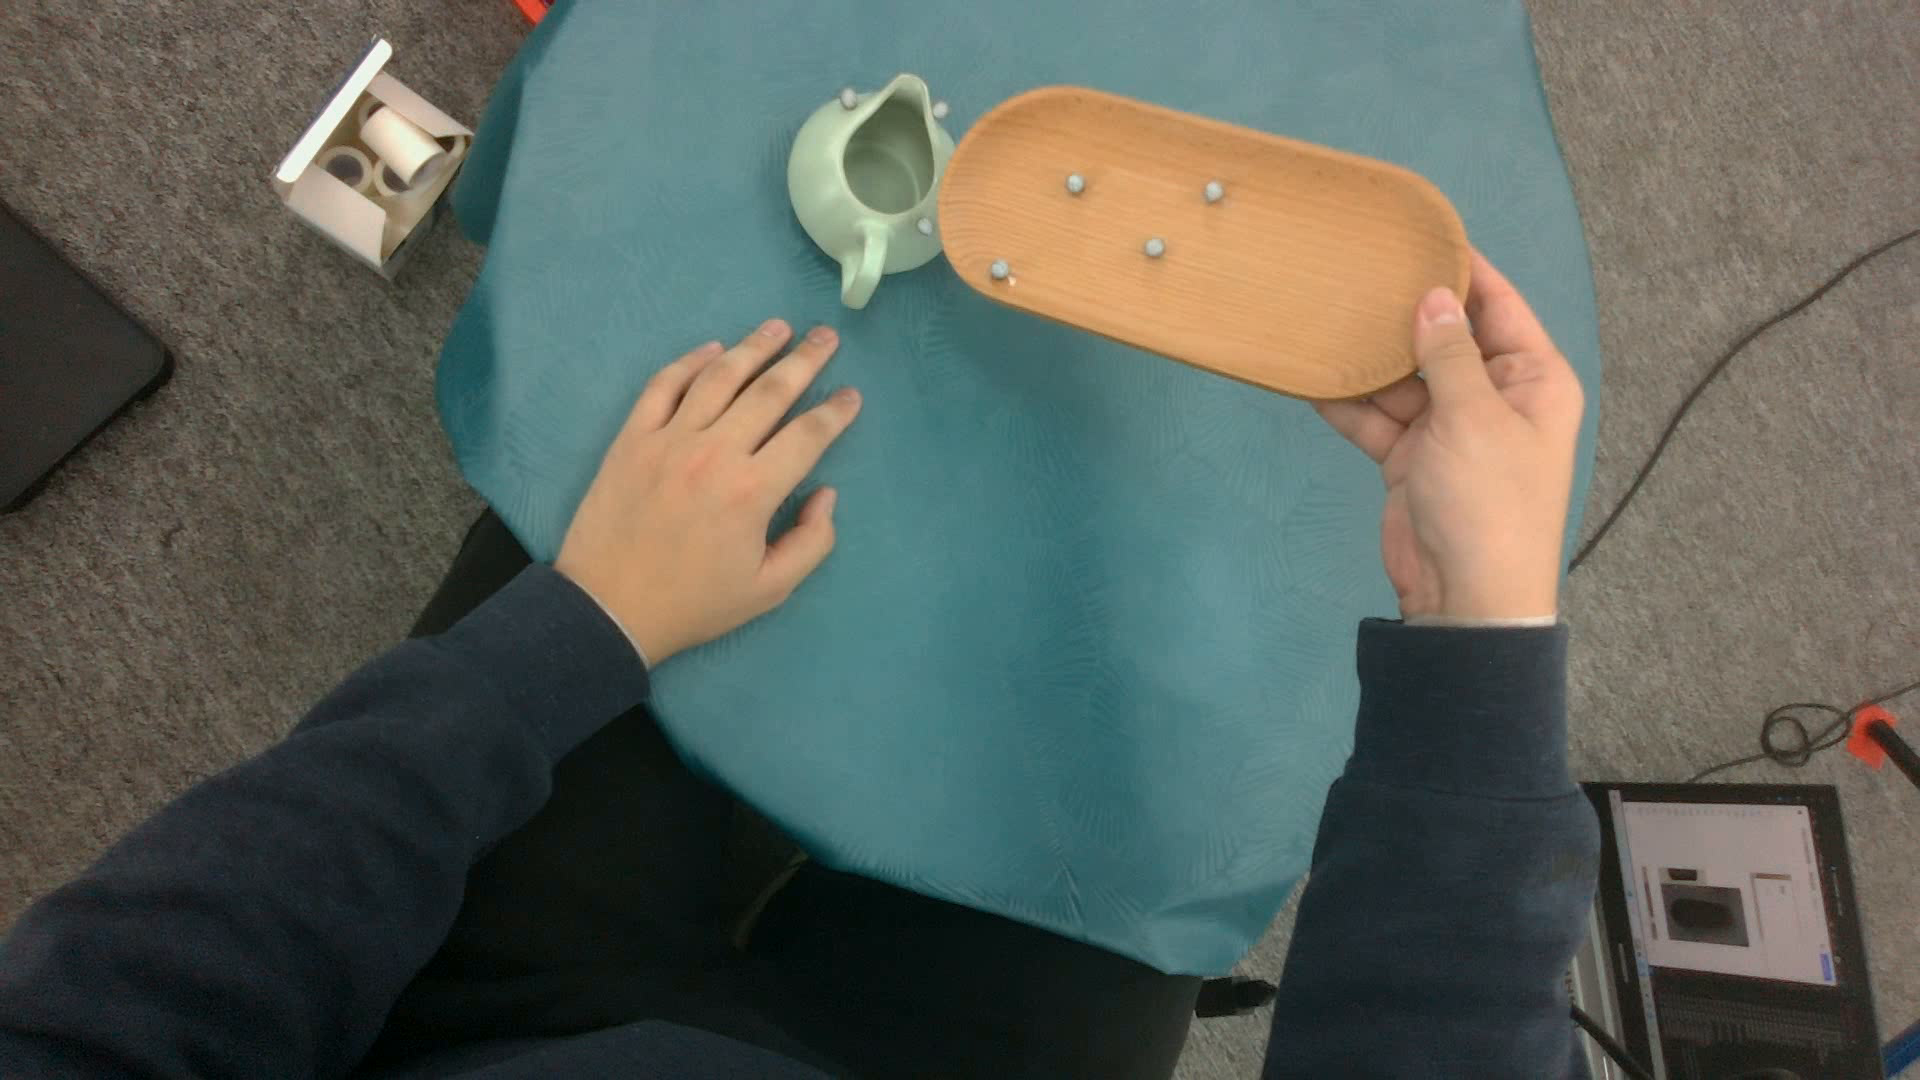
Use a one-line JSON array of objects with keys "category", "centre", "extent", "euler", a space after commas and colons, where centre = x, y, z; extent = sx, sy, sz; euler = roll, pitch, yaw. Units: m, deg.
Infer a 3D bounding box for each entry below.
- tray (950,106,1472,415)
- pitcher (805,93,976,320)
[{"category": "tray", "centre": [0.101, -0.123, 0.592], "extent": [0.231, 0.020, 0.101], "euler": [21, 88, 21]}, {"category": "pitcher", "centre": [-0.034, -0.158, 0.669], "extent": [0.086, 0.060, 0.108], "euler": [12, 86, -12]}]
